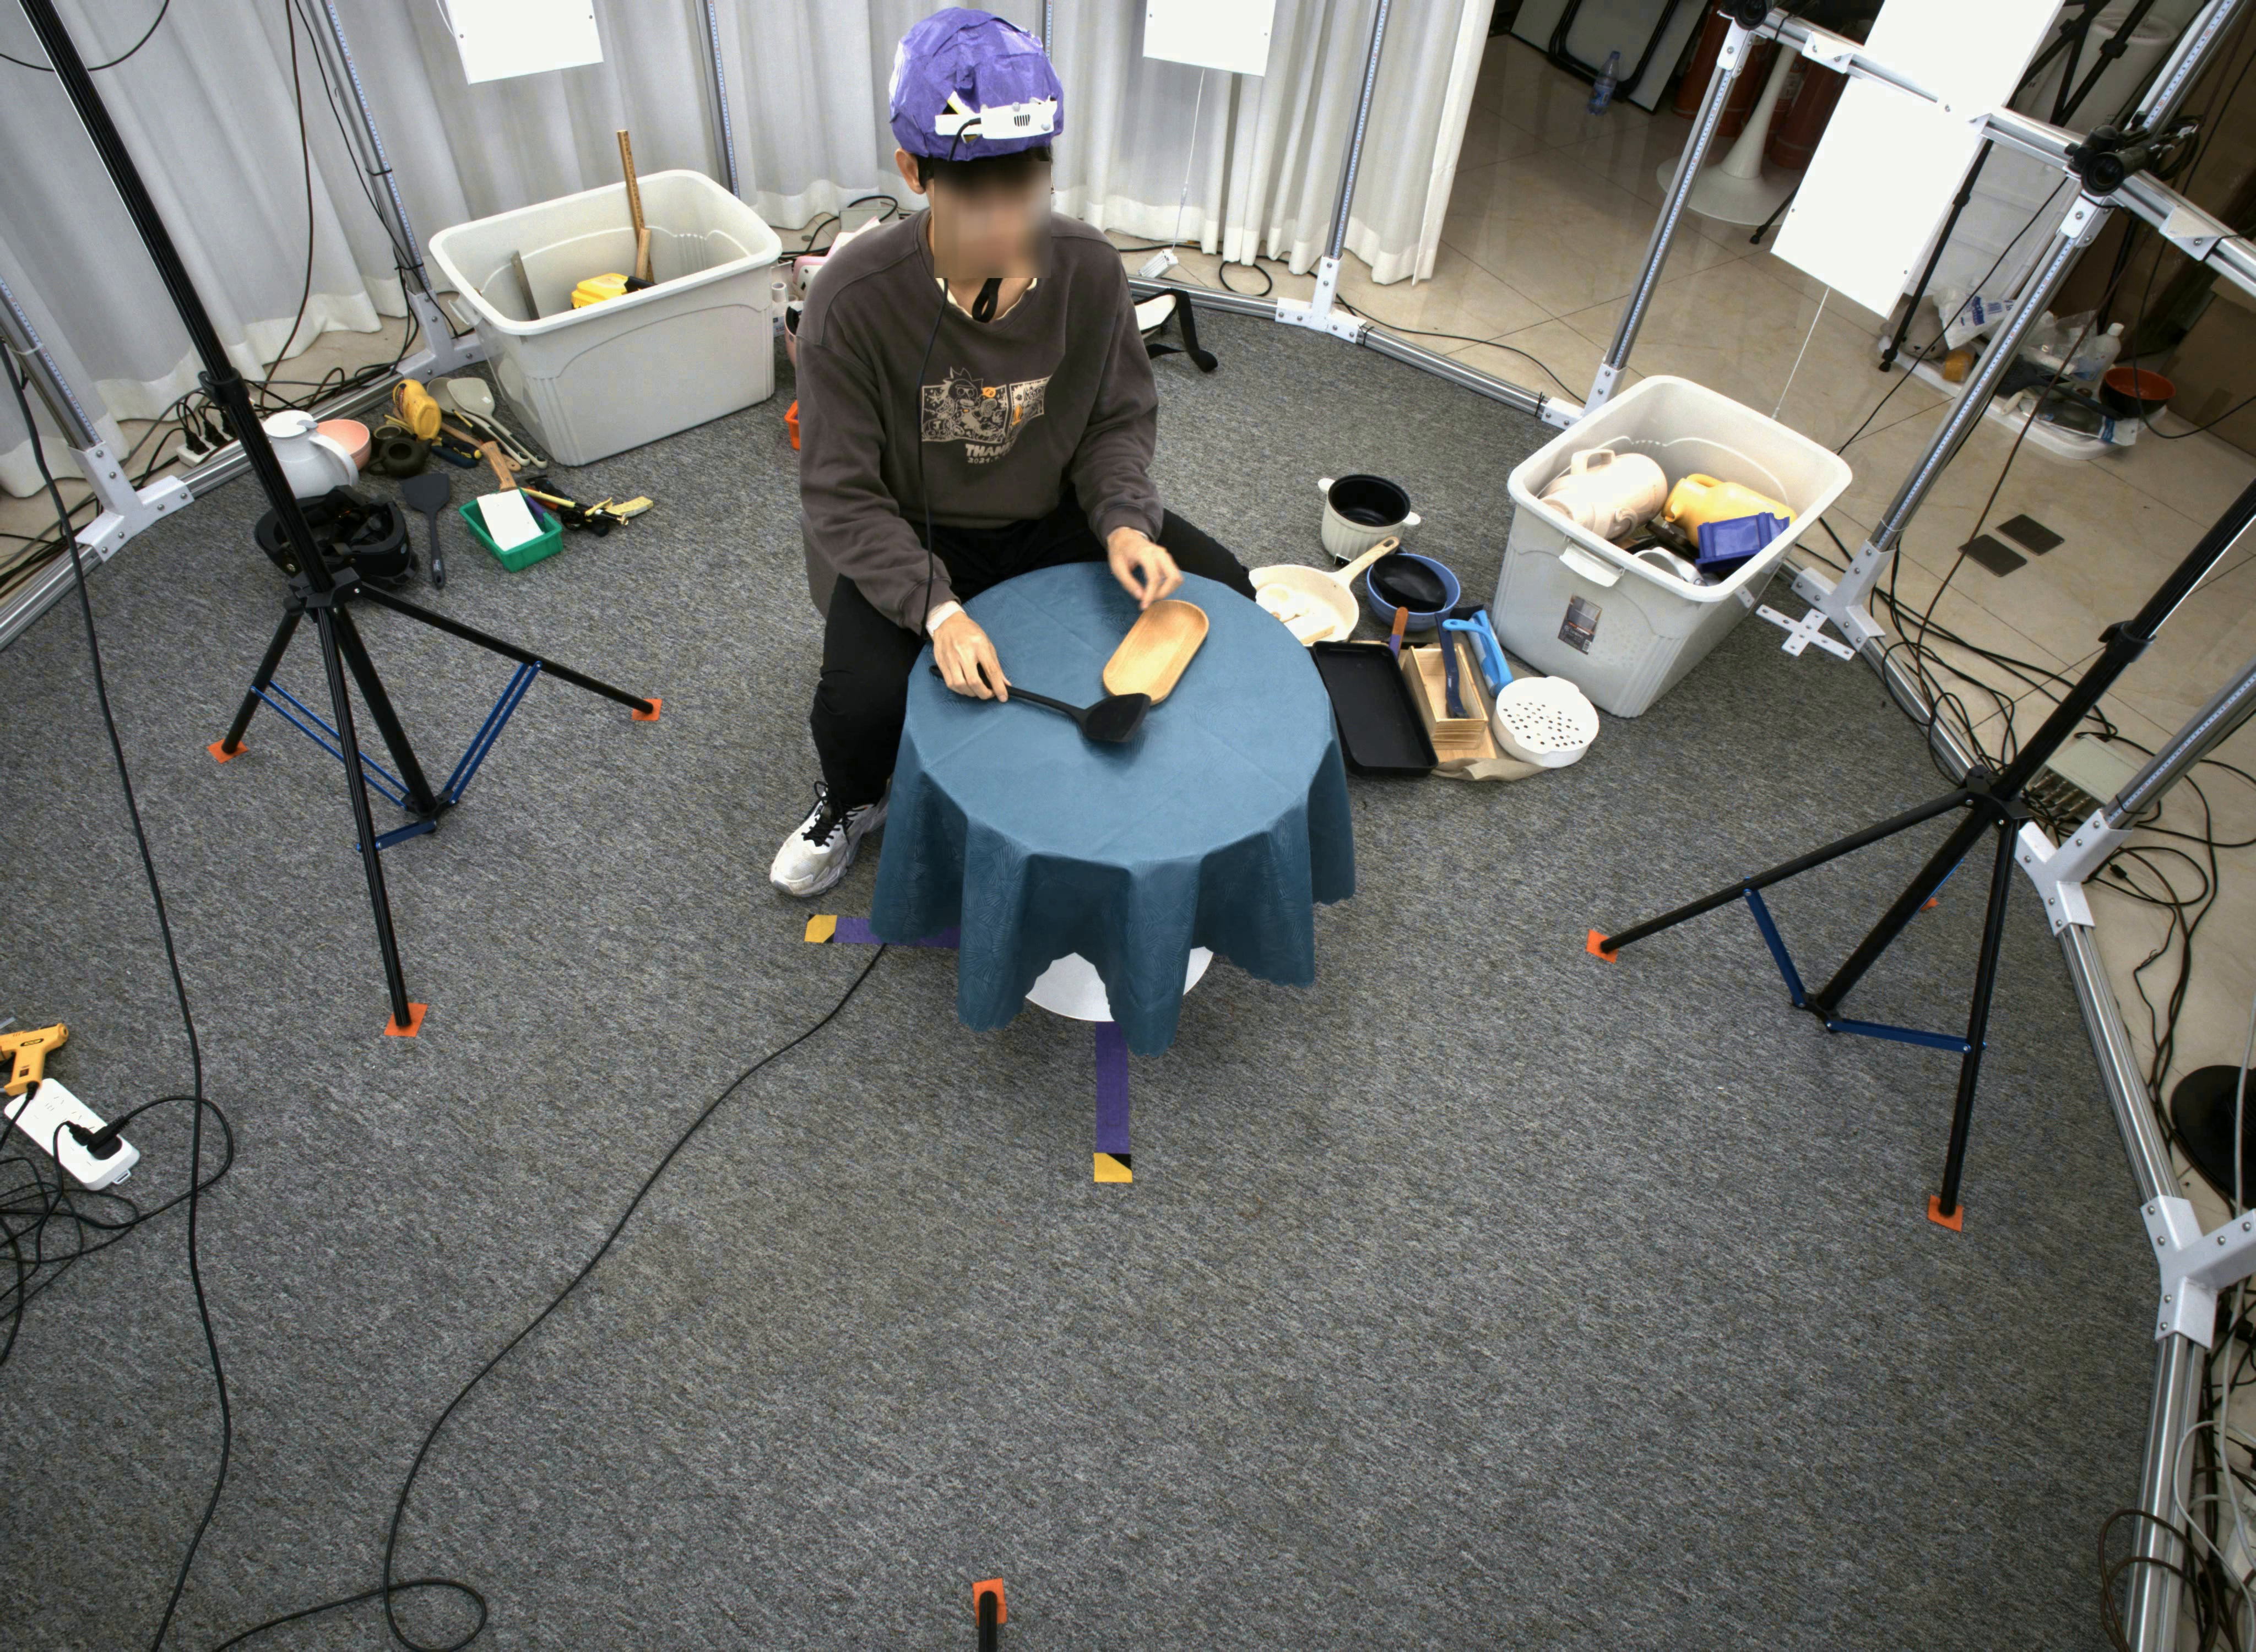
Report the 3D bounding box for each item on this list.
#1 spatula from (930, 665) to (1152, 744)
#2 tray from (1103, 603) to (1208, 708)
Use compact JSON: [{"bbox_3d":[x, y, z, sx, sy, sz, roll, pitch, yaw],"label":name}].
[{"bbox_3d":[-0.130,-0.184,1.793,0.327,0.039,0.101,19,51,12],"label":"spatula"},{"bbox_3d":[0.042,-0.251,1.877,0.102,0.020,0.235,20,52,14],"label":"tray"}]
